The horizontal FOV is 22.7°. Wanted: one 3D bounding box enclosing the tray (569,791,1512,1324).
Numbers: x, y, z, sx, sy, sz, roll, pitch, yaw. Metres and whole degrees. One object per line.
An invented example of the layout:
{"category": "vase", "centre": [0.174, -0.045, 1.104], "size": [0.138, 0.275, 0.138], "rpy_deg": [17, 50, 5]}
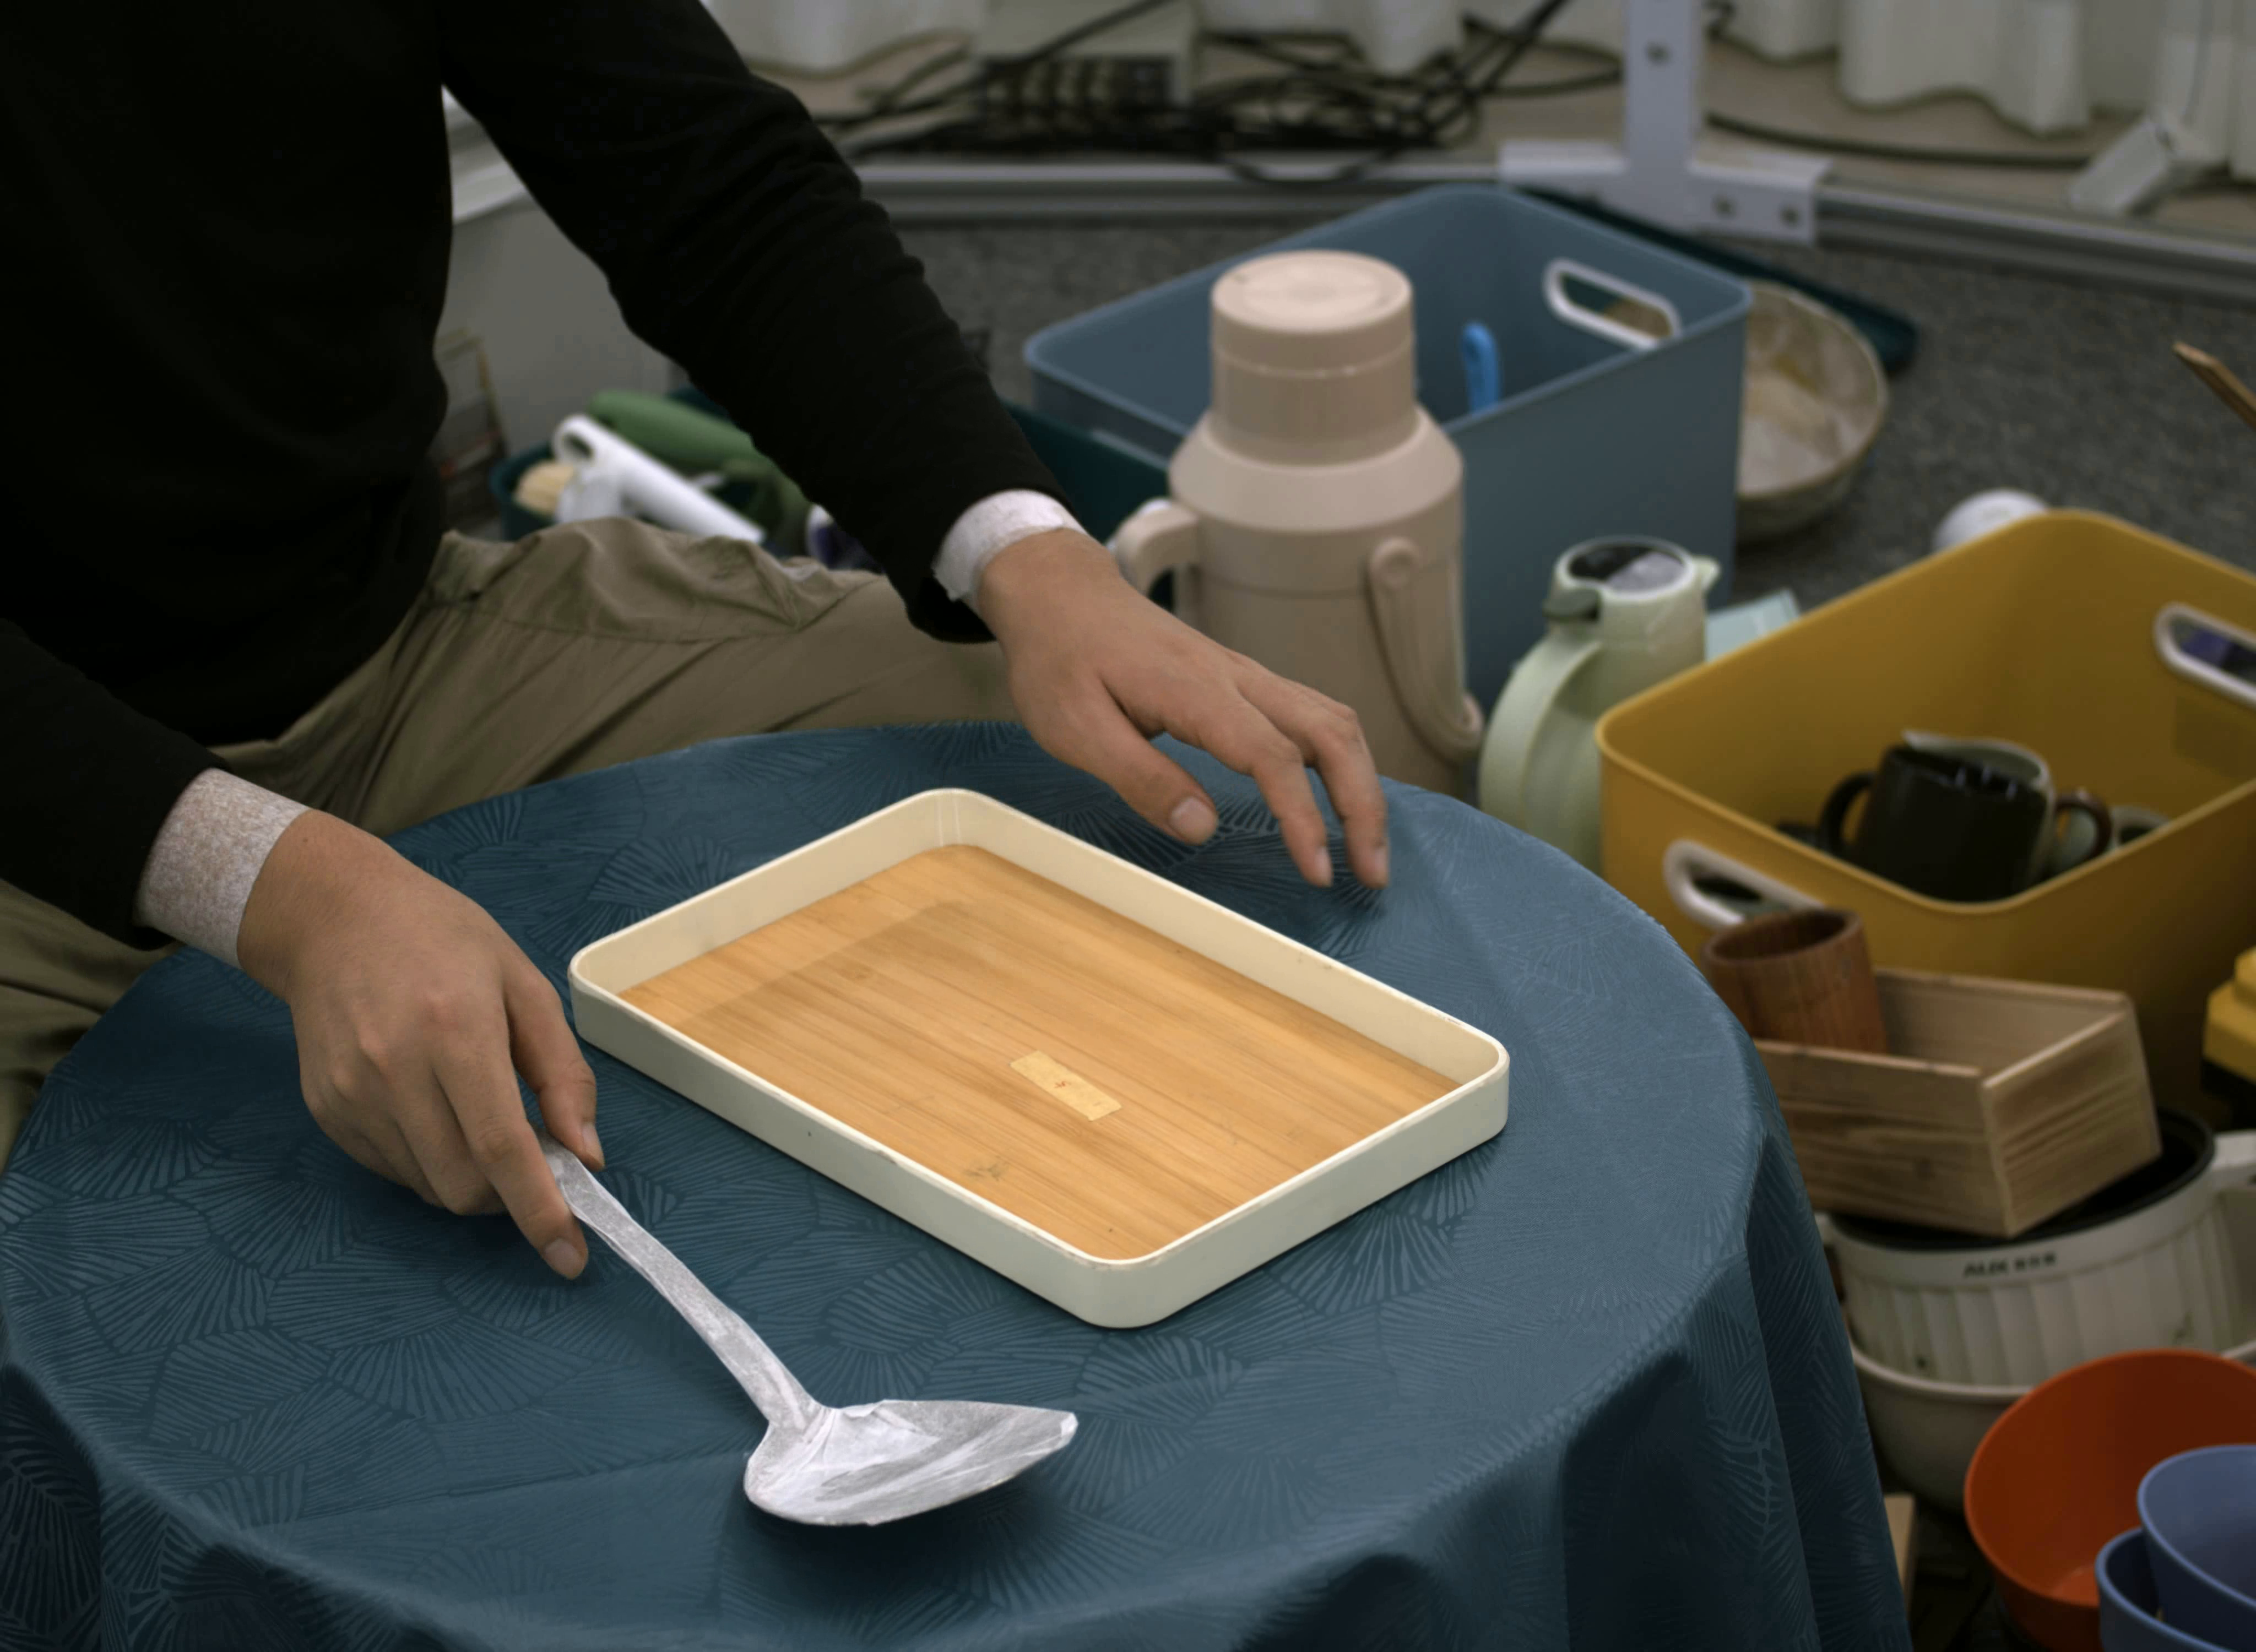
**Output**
{"category": "tray", "centre": [-0.033, 0.074, 1.928], "size": [0.194, 0.027, 0.300], "rpy_deg": [-25, 34, -35]}

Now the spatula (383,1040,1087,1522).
{"category": "spatula", "centre": [-0.149, 0.136, 1.790], "size": [0.099, 0.044, 0.366], "rpy_deg": [-19, 36, -32]}
